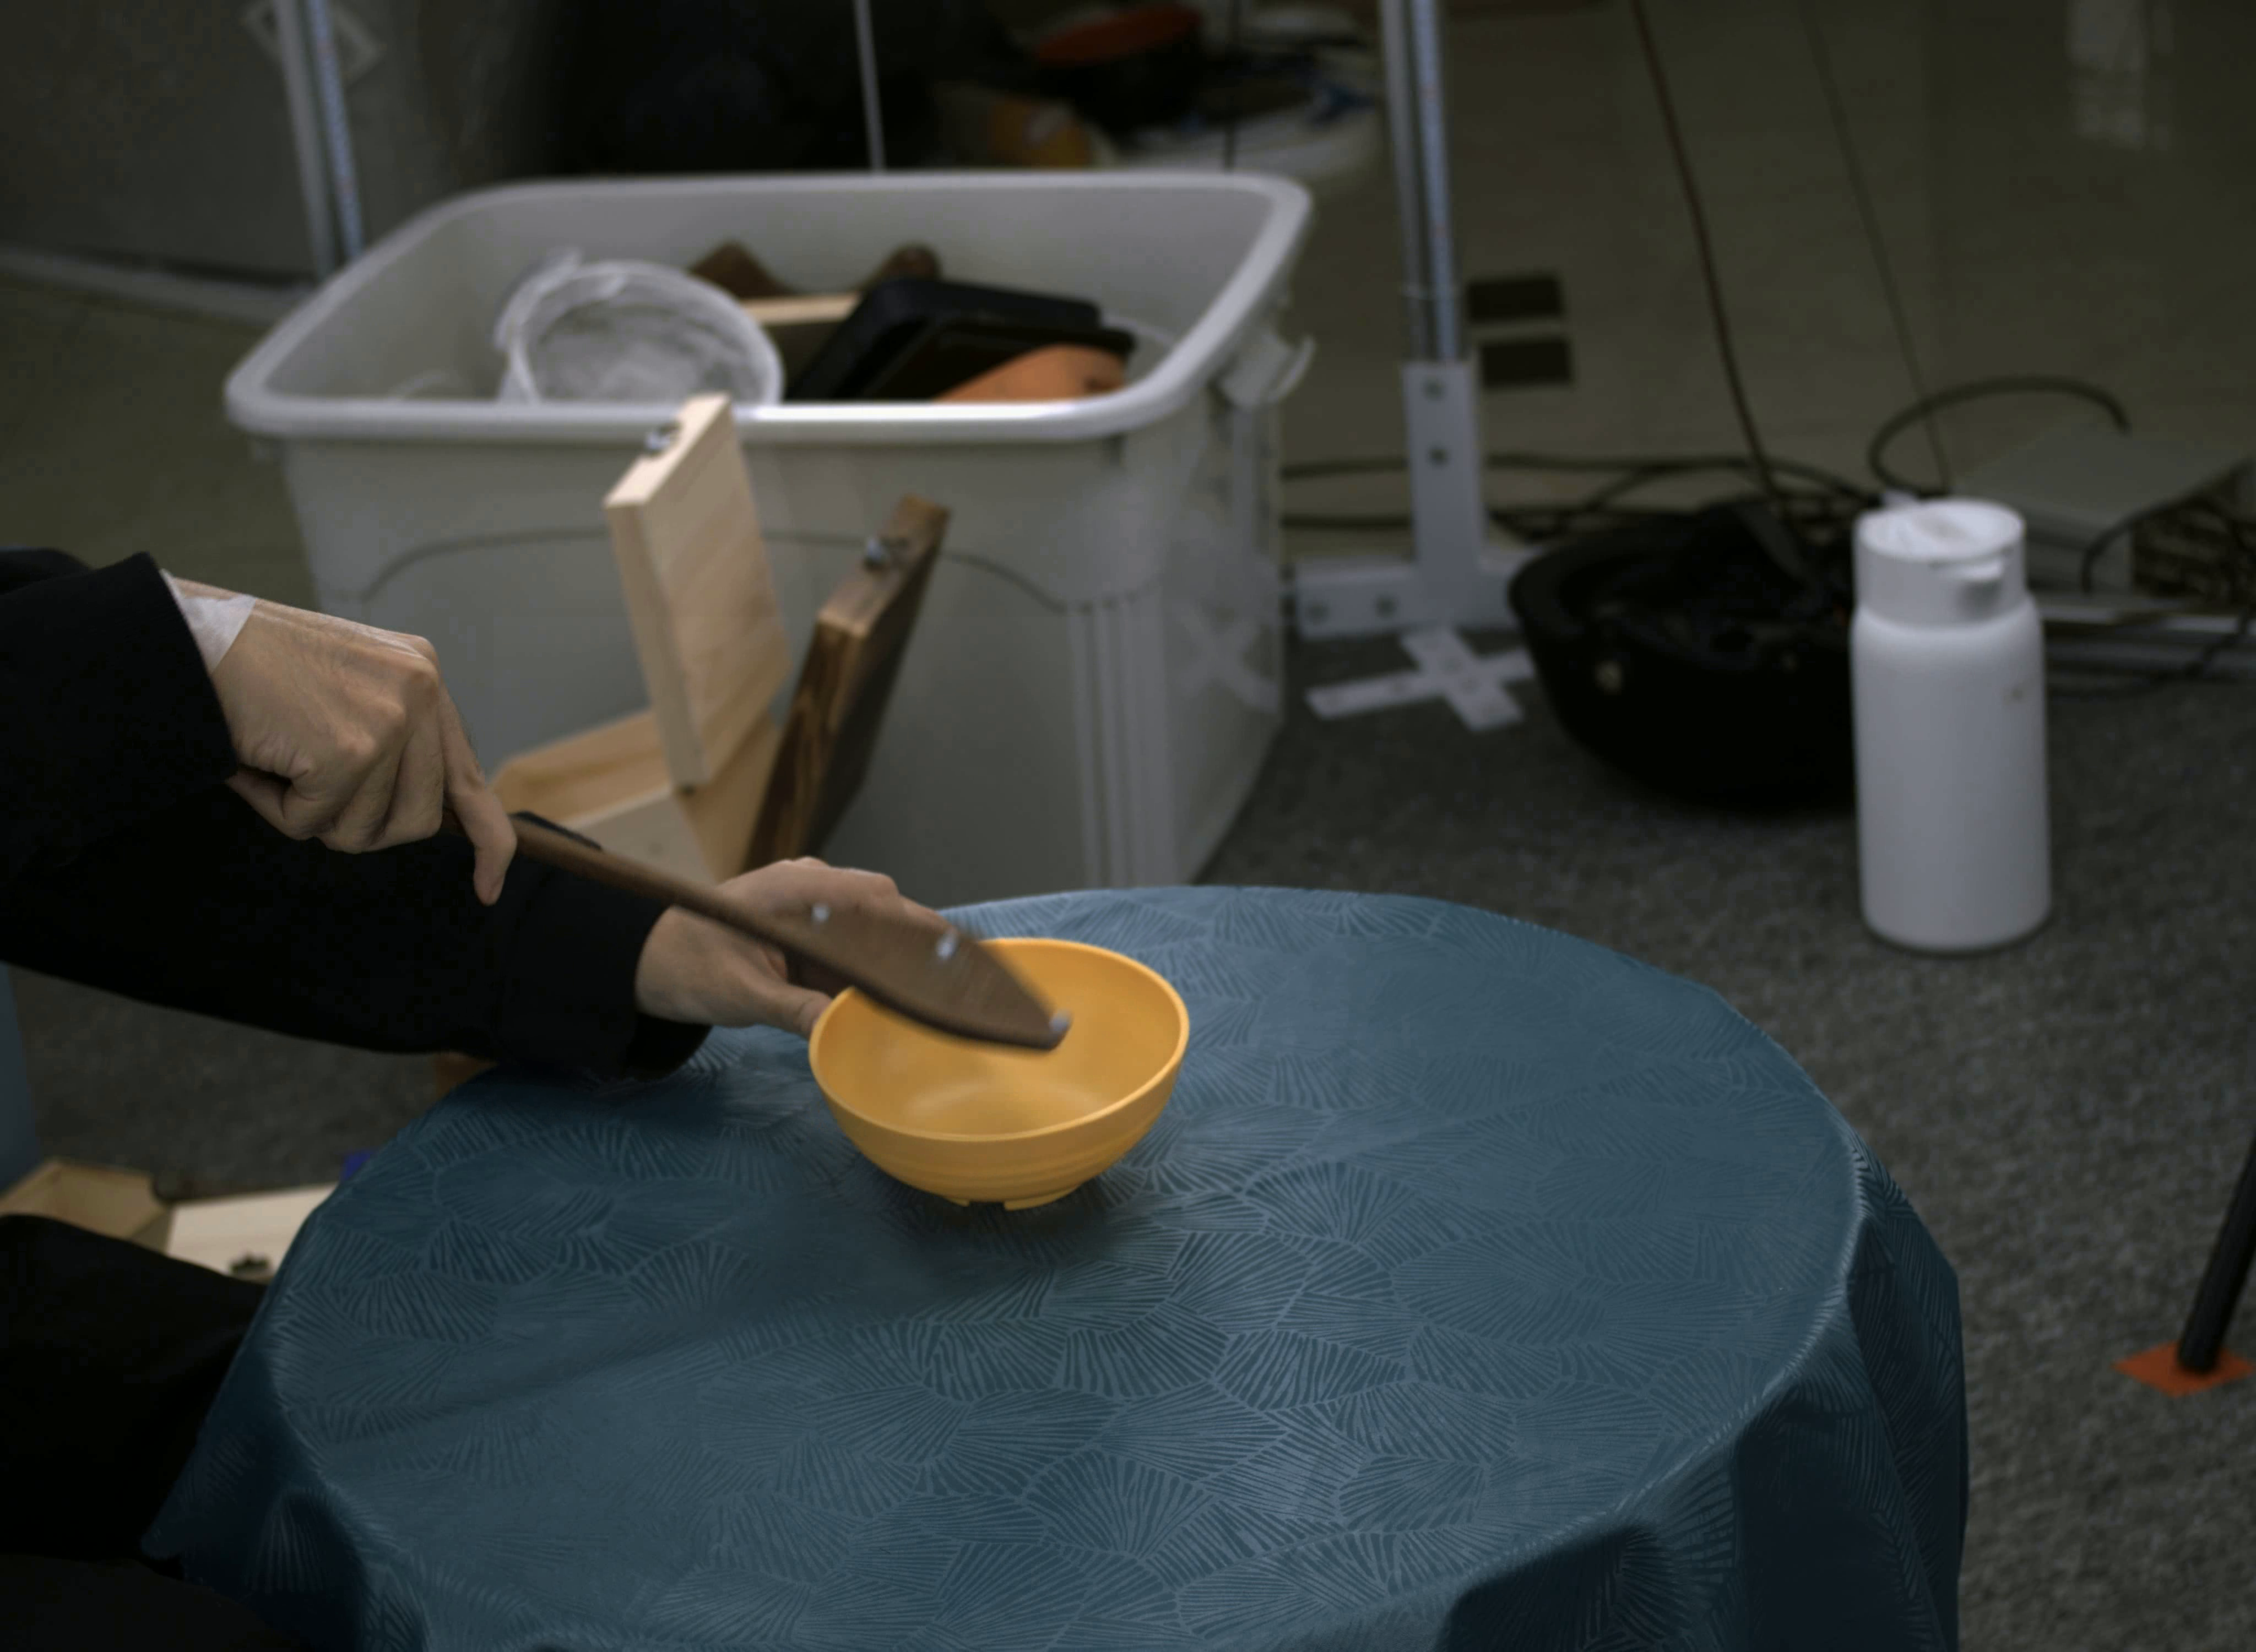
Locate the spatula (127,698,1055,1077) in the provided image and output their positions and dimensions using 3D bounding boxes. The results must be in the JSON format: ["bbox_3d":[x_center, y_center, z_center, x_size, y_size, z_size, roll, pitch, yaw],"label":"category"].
[{"bbox_3d":[-0.187,0.020,2.022,0.388,0.016,0.095,23,14,-34],"label":"spatula"}]

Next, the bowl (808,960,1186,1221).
[{"bbox_3d":[-0.048,0.109,2.157,0.145,0.061,0.143,-3,27,2],"label":"bowl"}]
